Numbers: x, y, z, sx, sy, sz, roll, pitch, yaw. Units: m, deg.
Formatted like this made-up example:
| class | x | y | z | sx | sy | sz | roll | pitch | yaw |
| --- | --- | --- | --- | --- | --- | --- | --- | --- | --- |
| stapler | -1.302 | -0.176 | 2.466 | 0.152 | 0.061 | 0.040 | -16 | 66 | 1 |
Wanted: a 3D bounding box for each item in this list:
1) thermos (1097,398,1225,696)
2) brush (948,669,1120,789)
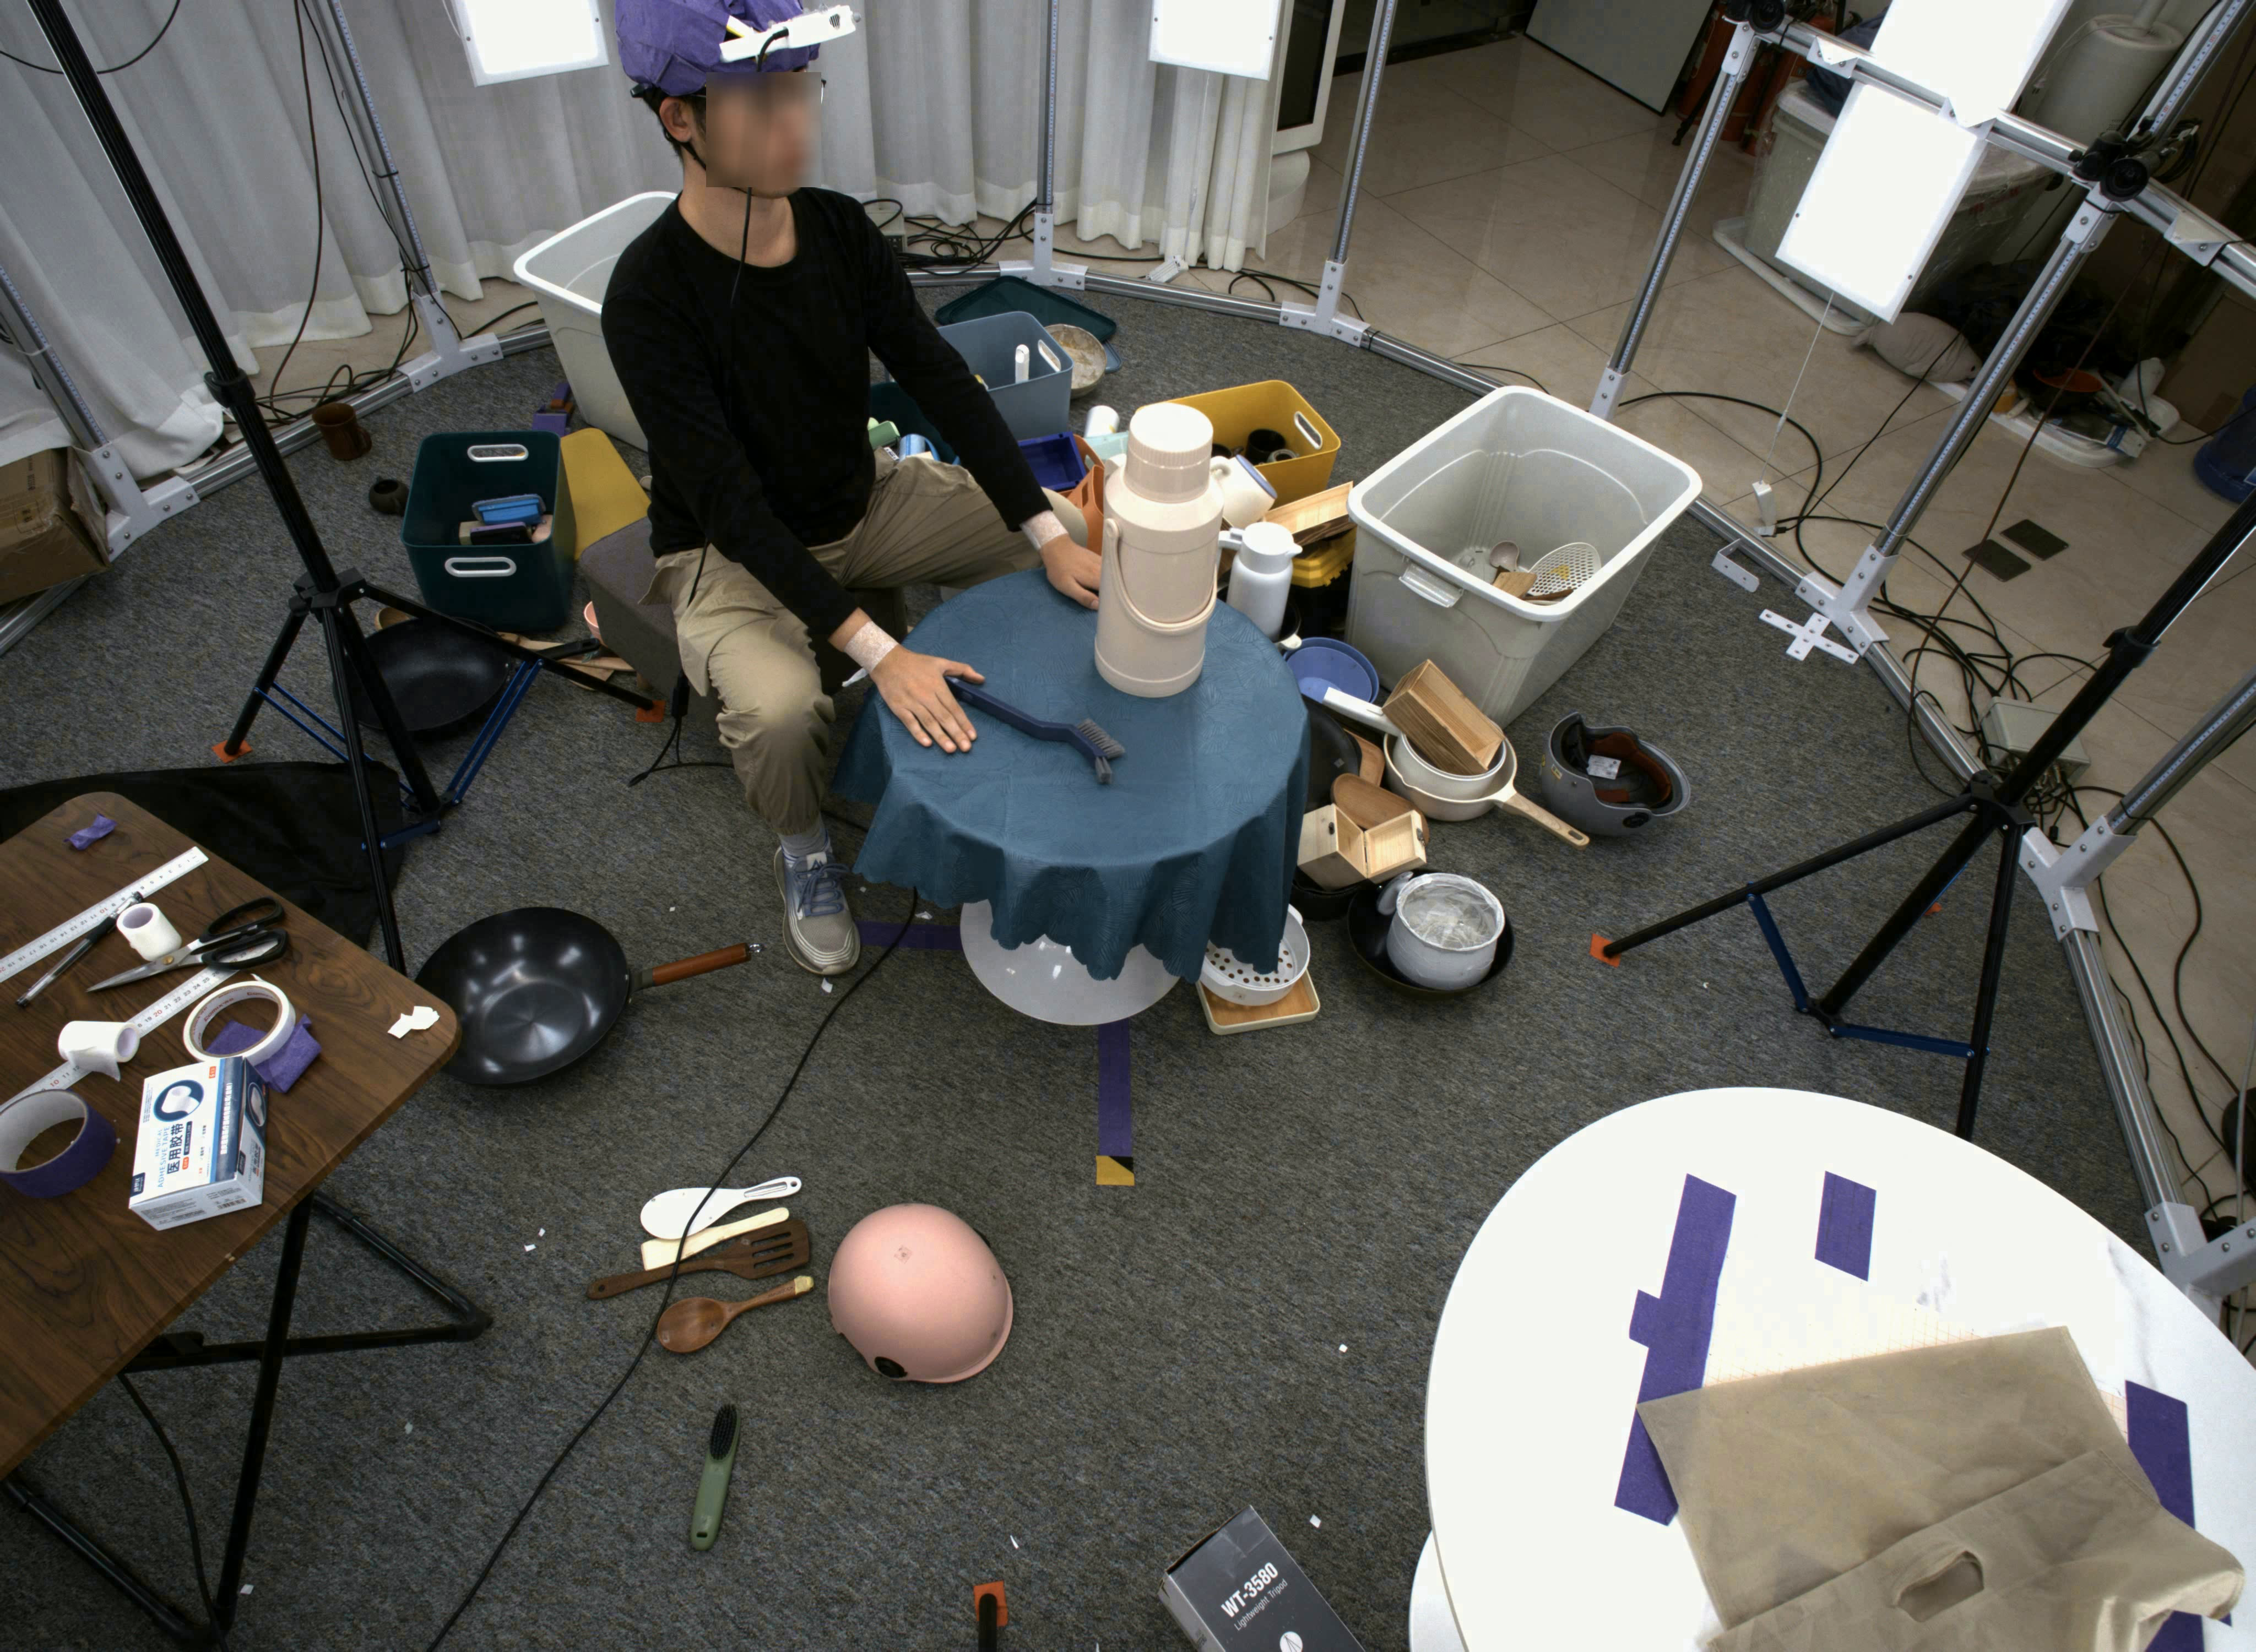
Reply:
| class | x | y | z | sx | sy | sz | roll | pitch | yaw |
| --- | --- | --- | --- | --- | --- | --- | --- | --- | --- |
| thermos | 0.036 | -0.380 | 1.746 | 0.176 | 0.396 | 0.211 | -28 | 57 | -24 |
| brush | -0.139 | -0.138 | 1.759 | 0.274 | 0.033 | 0.097 | 22 | 51 | 12 |
